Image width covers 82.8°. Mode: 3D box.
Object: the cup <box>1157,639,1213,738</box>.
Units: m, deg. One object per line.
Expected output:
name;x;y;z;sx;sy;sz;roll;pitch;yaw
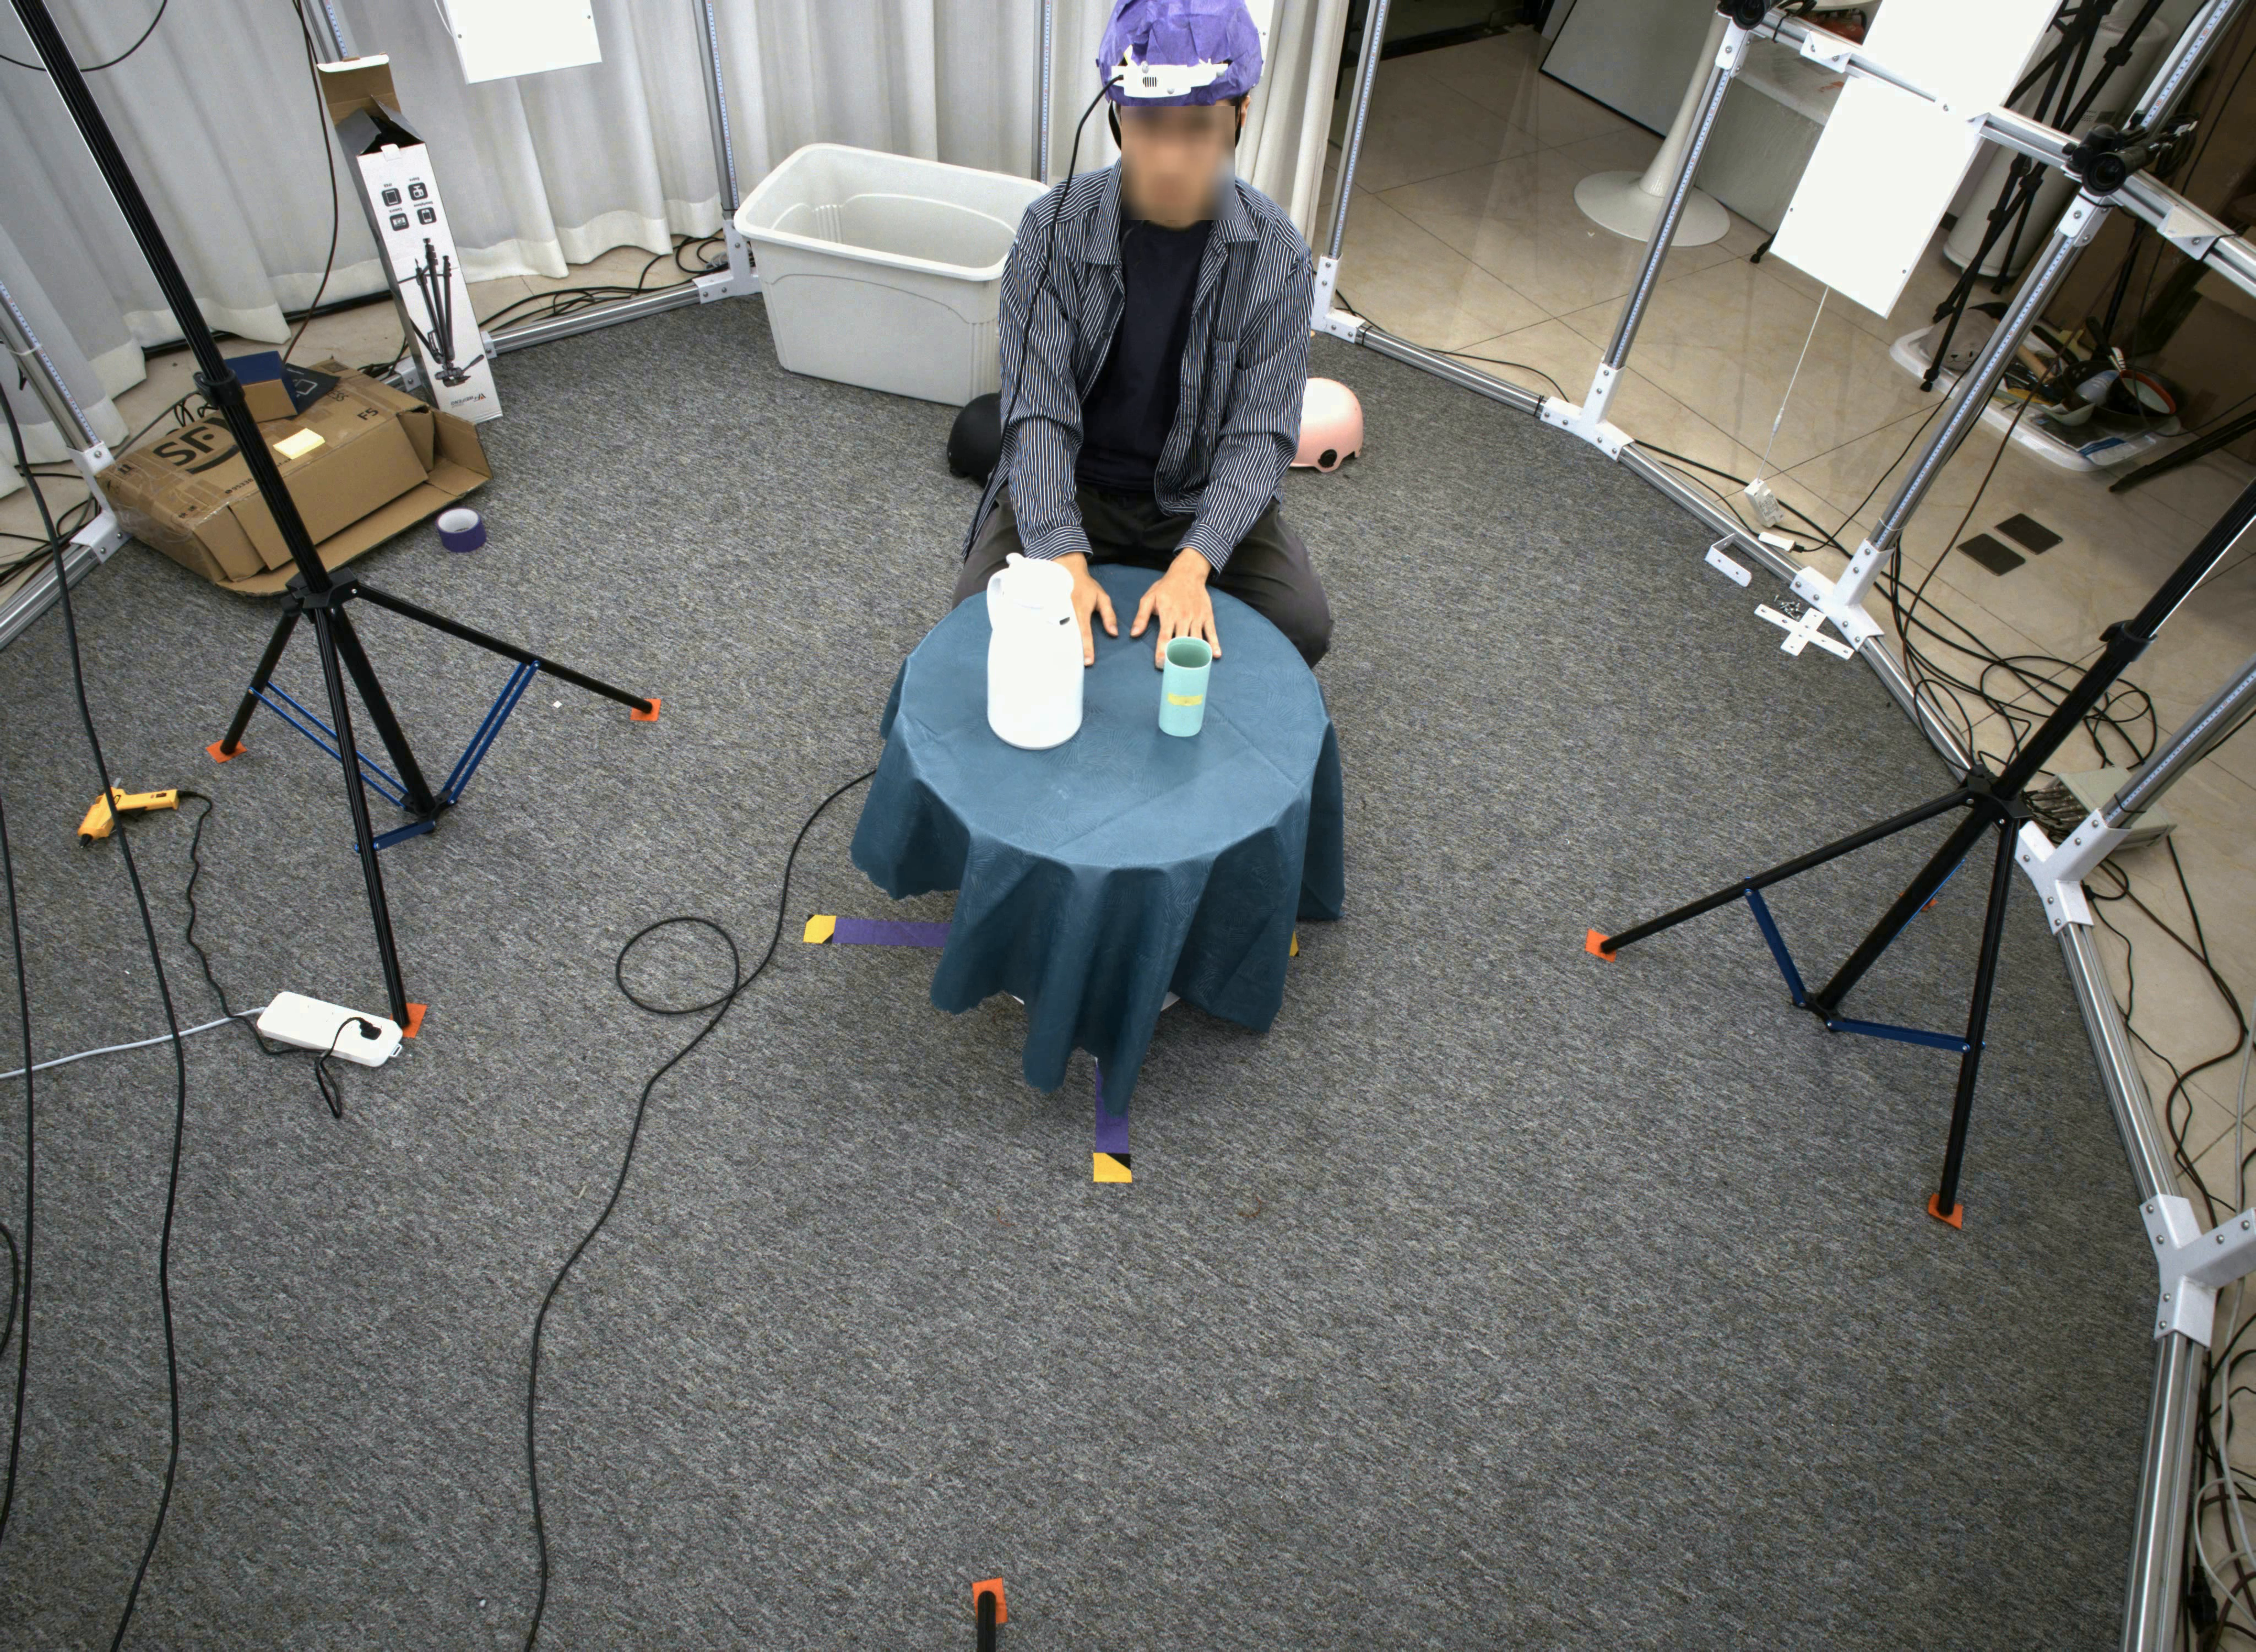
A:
cup;0.076;-0.188;1.747;0.066;0.129;0.068;3;51;-4

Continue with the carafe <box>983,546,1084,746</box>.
carafe;-0.134;-0.248;1.697;0.133;0.242;0.170;-31;57;-27
